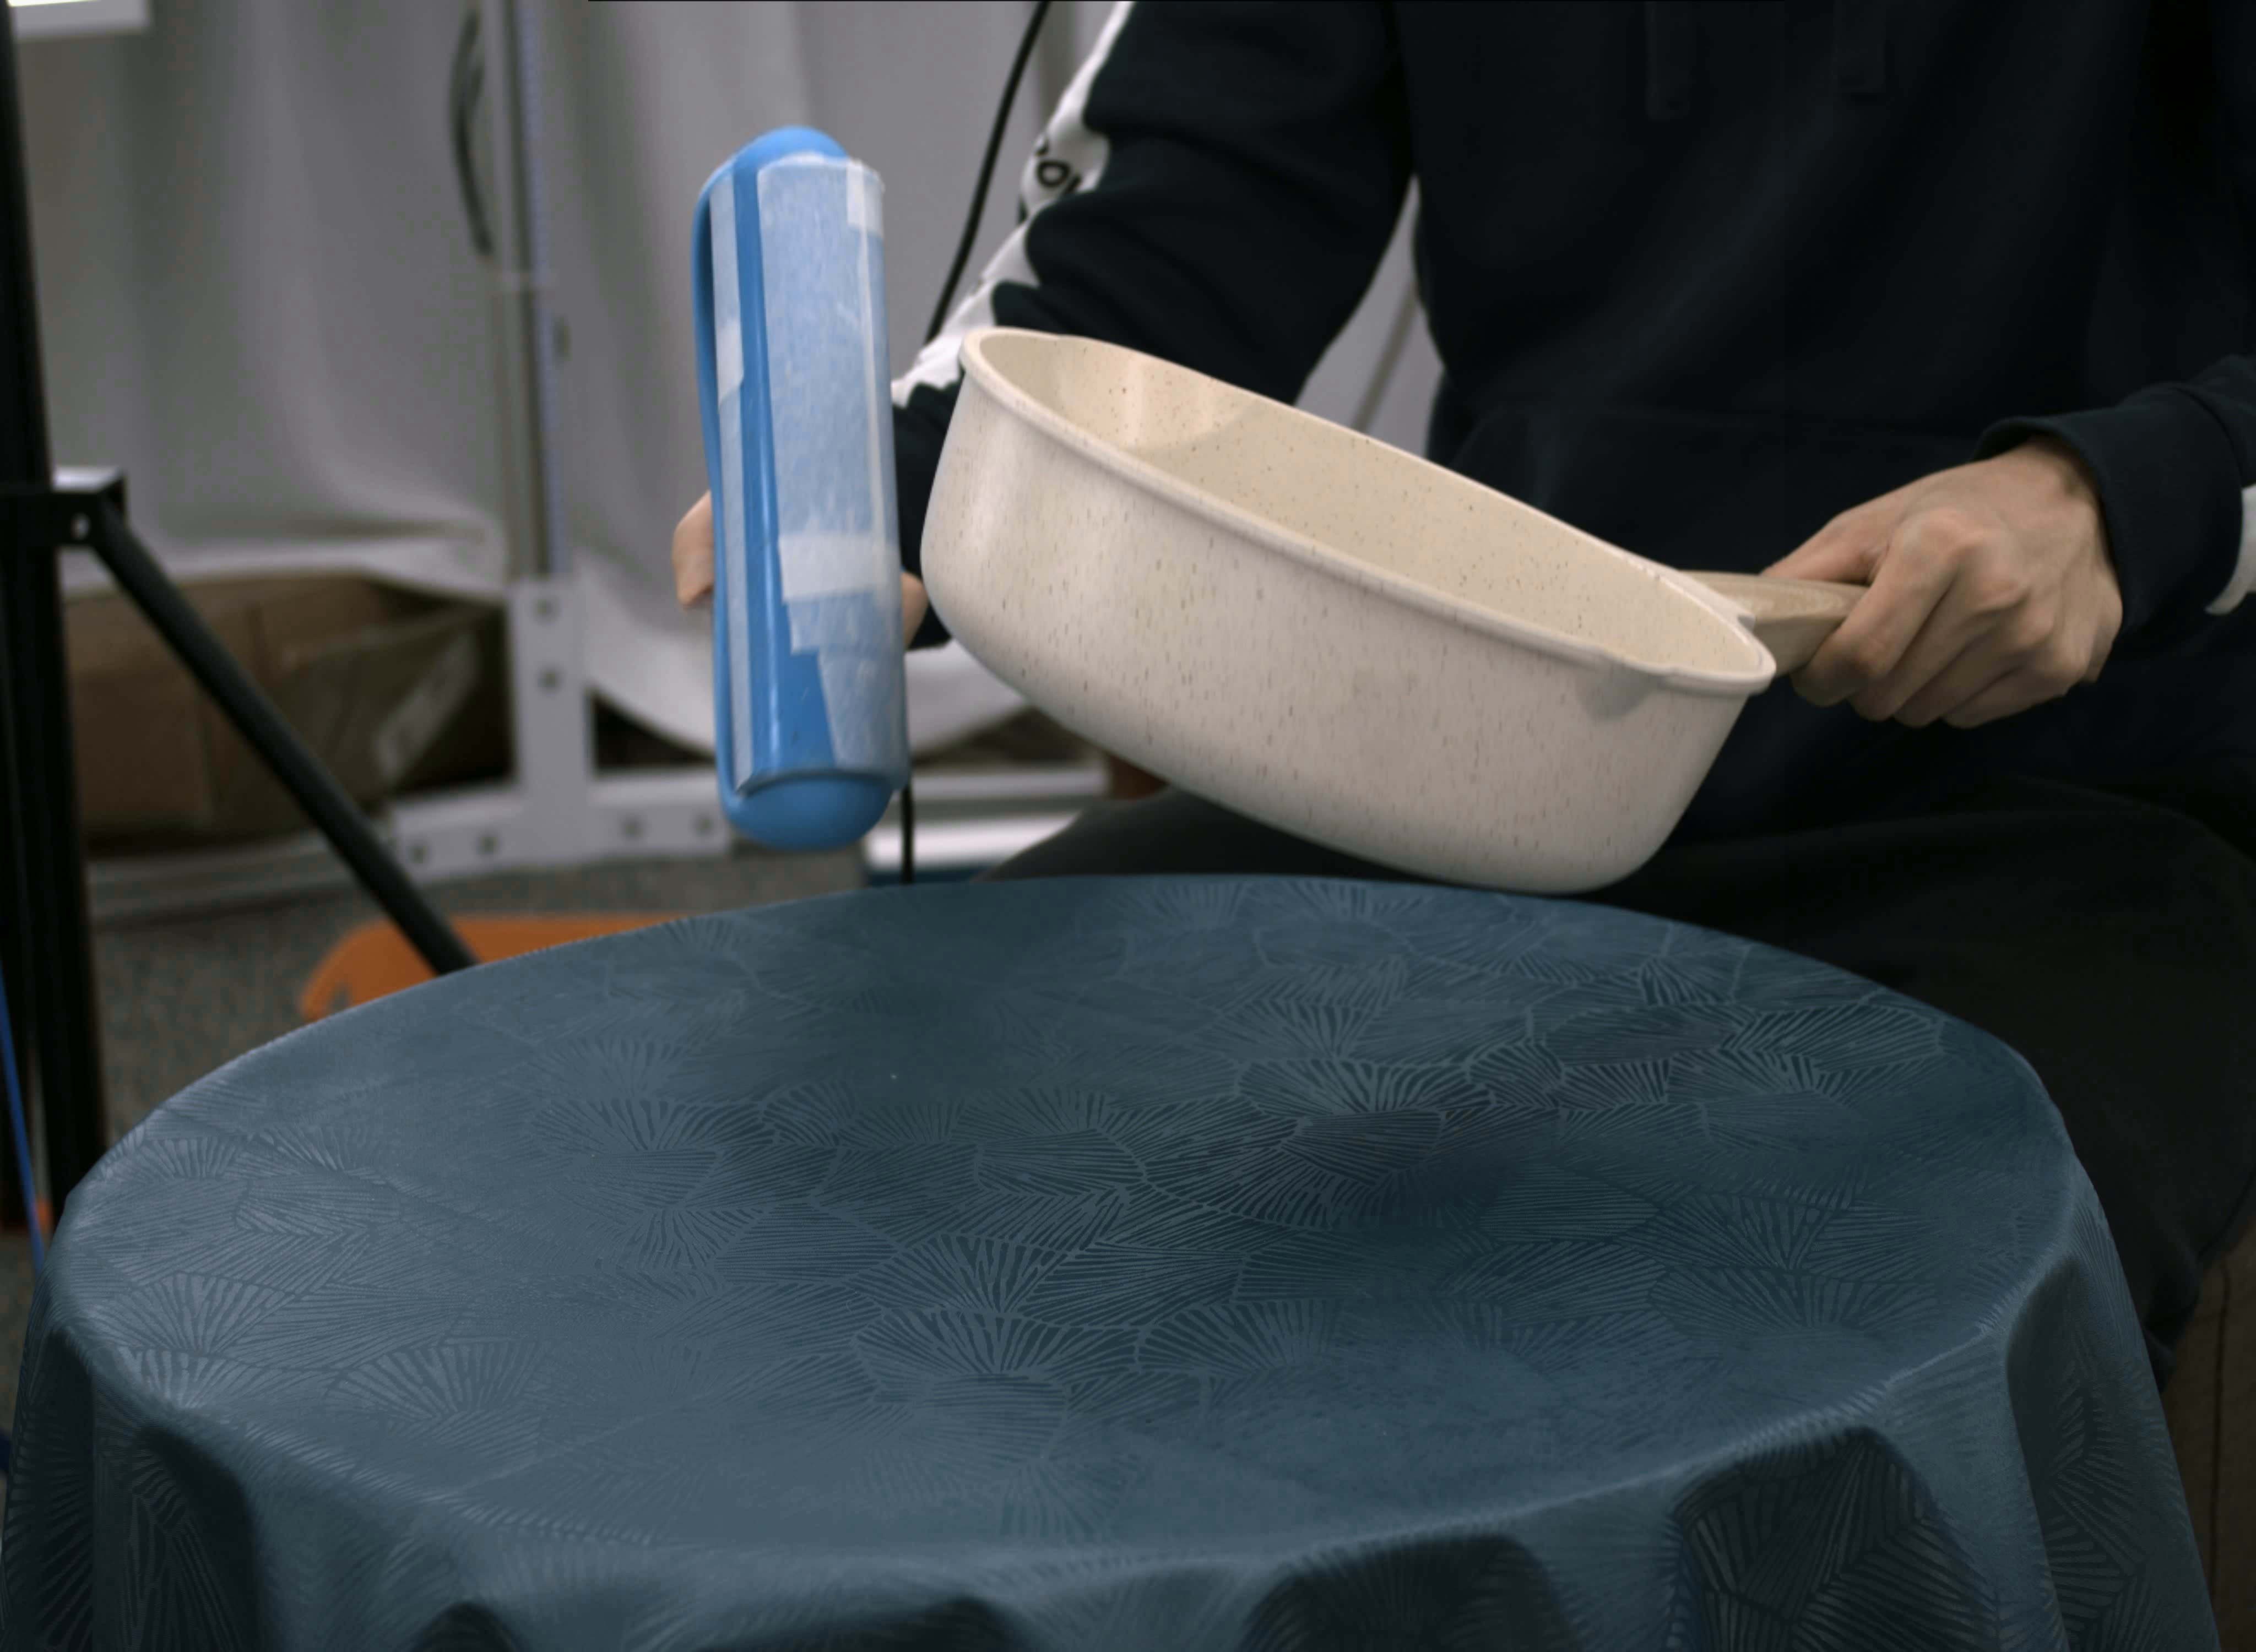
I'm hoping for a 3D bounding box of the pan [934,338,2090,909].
[{"bbox_3d":[0.129,-0.046,1.575,0.423,0.102,0.269,12,15,-39],"label":"pan"}]

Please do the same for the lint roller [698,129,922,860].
[{"bbox_3d":[-0.101,-0.088,1.697,0.067,0.231,0.179,-3,-15,-2],"label":"lint roller"}]
